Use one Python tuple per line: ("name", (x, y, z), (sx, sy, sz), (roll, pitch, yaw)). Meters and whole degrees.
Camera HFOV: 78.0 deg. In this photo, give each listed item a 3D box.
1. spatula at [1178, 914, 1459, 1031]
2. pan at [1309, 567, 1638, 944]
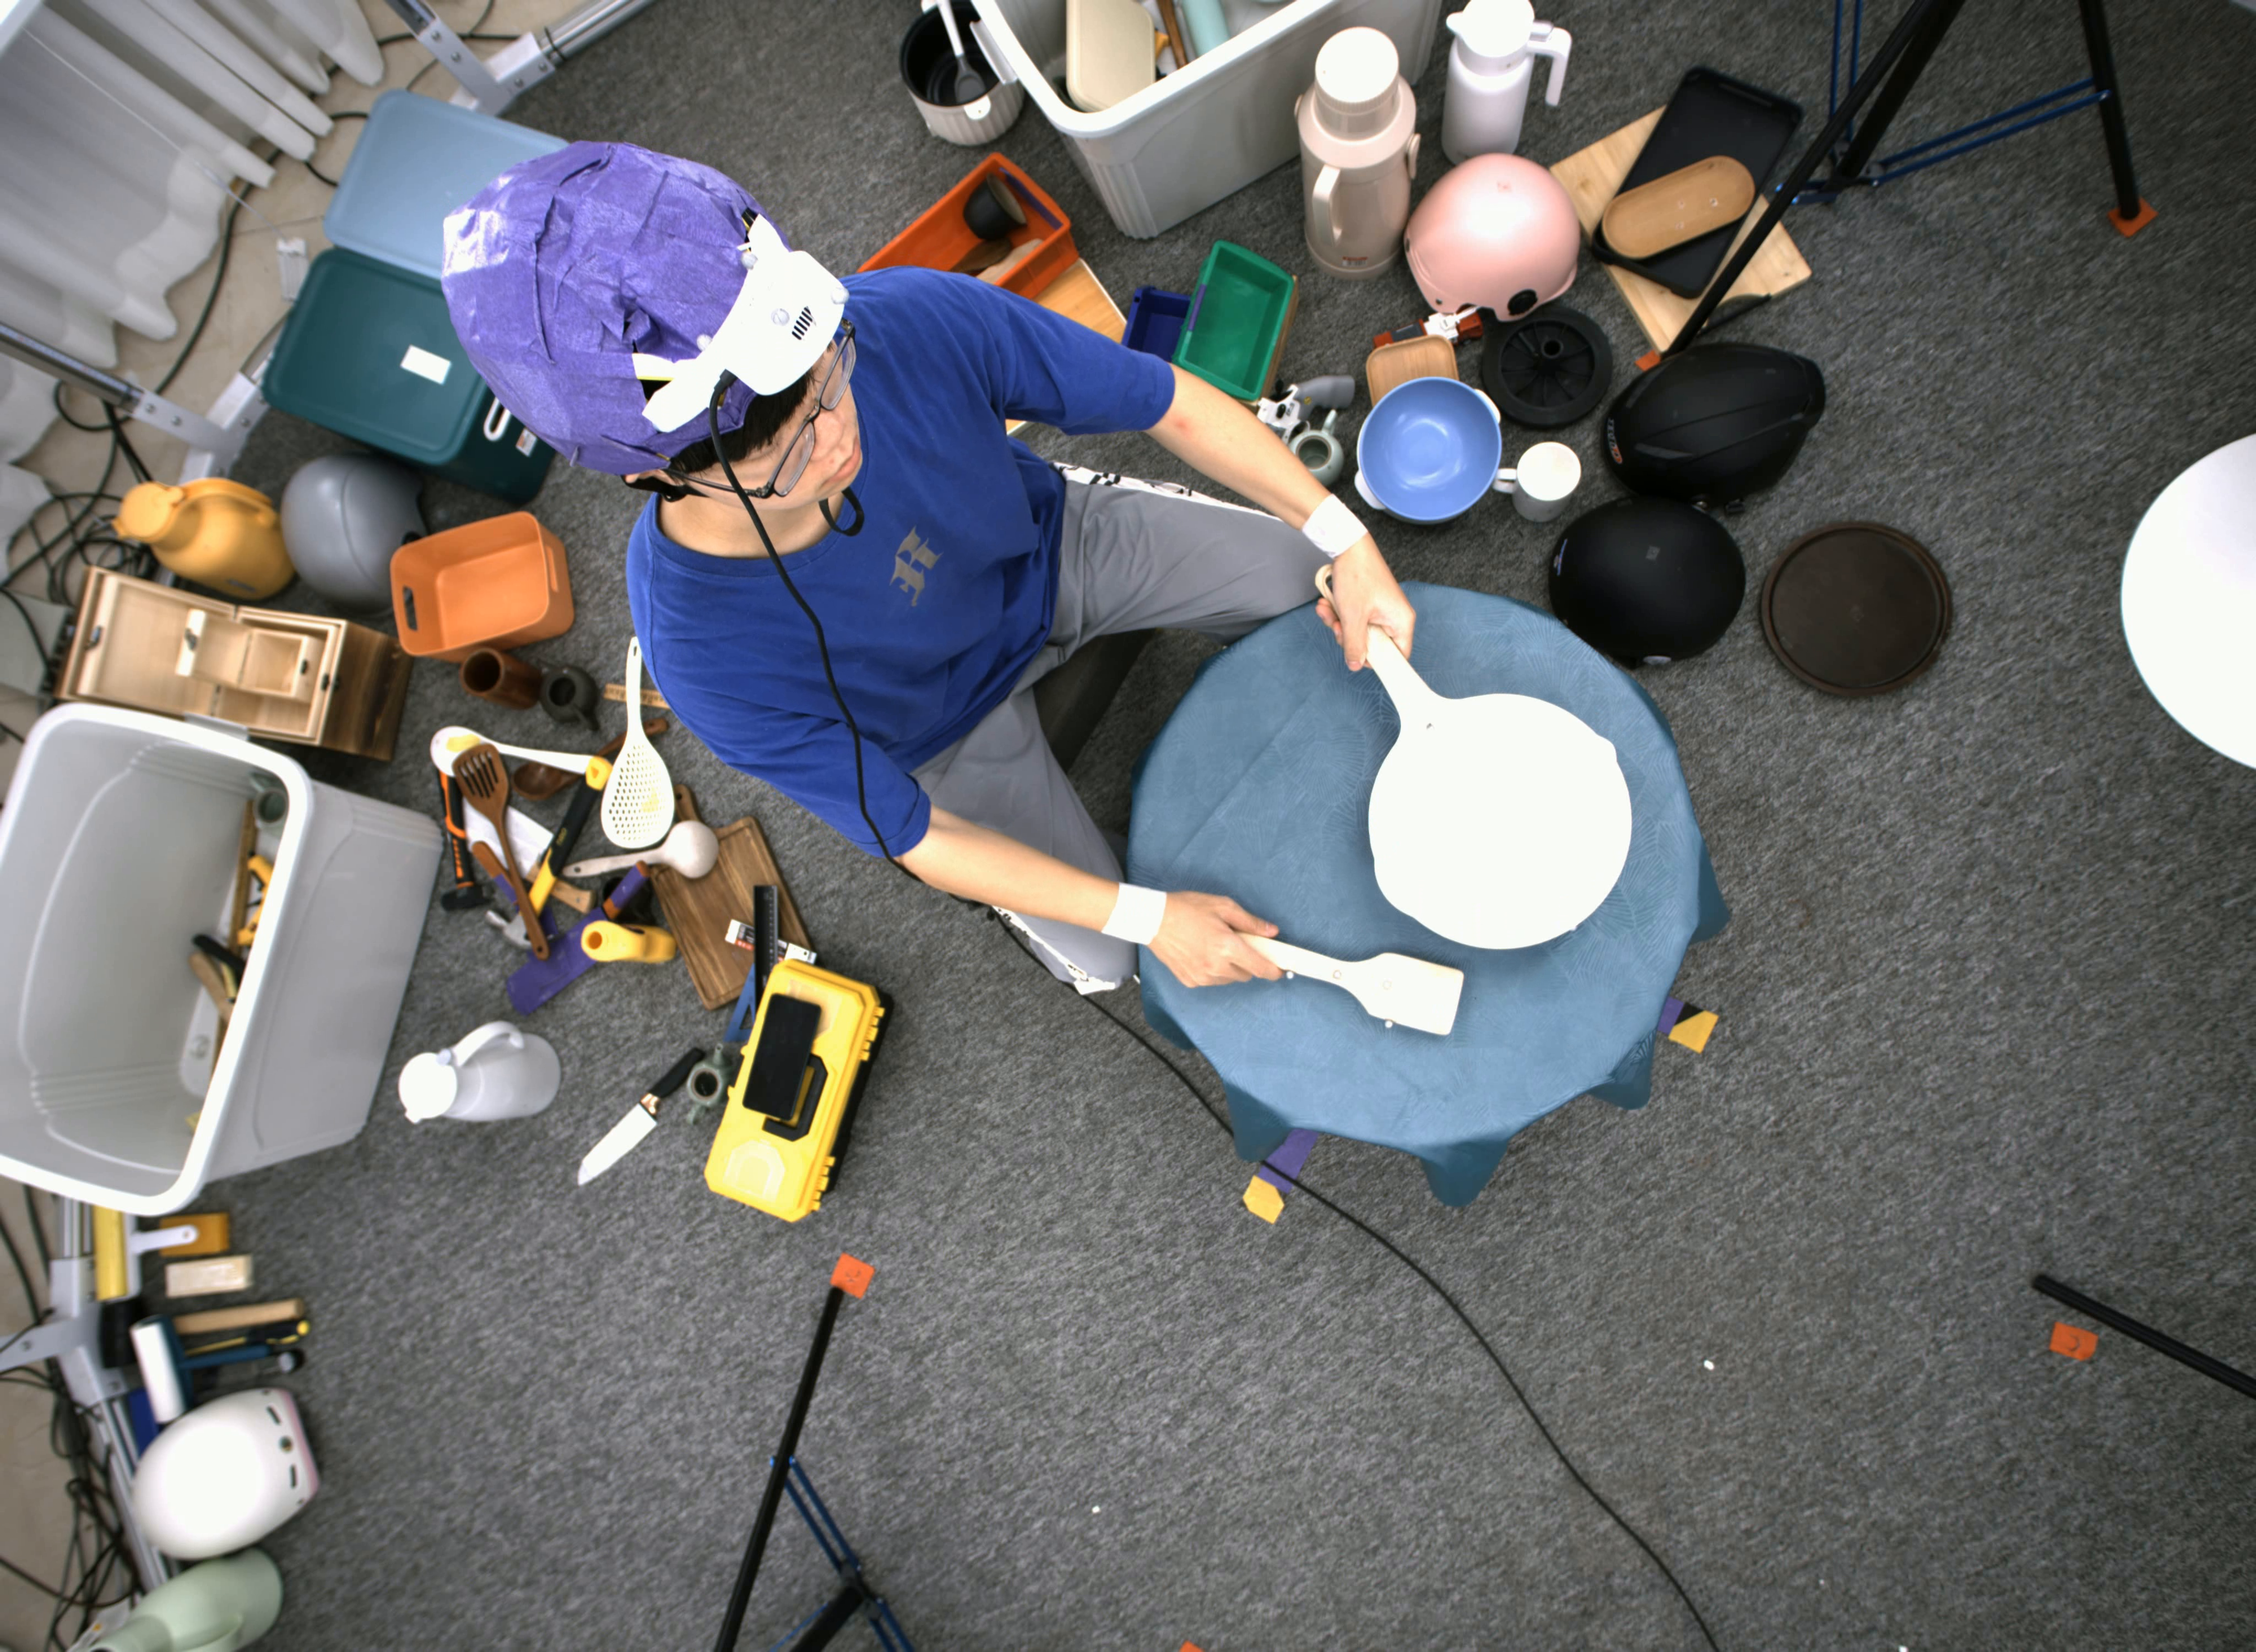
("spatula", (0.193, 0.141, 1.434), (0.293, 0.011, 0.071), (15, 78, 8))
("pan", (0.325, -0.083, 1.390), (0.265, 0.102, 0.431), (-36, 78, 11))
